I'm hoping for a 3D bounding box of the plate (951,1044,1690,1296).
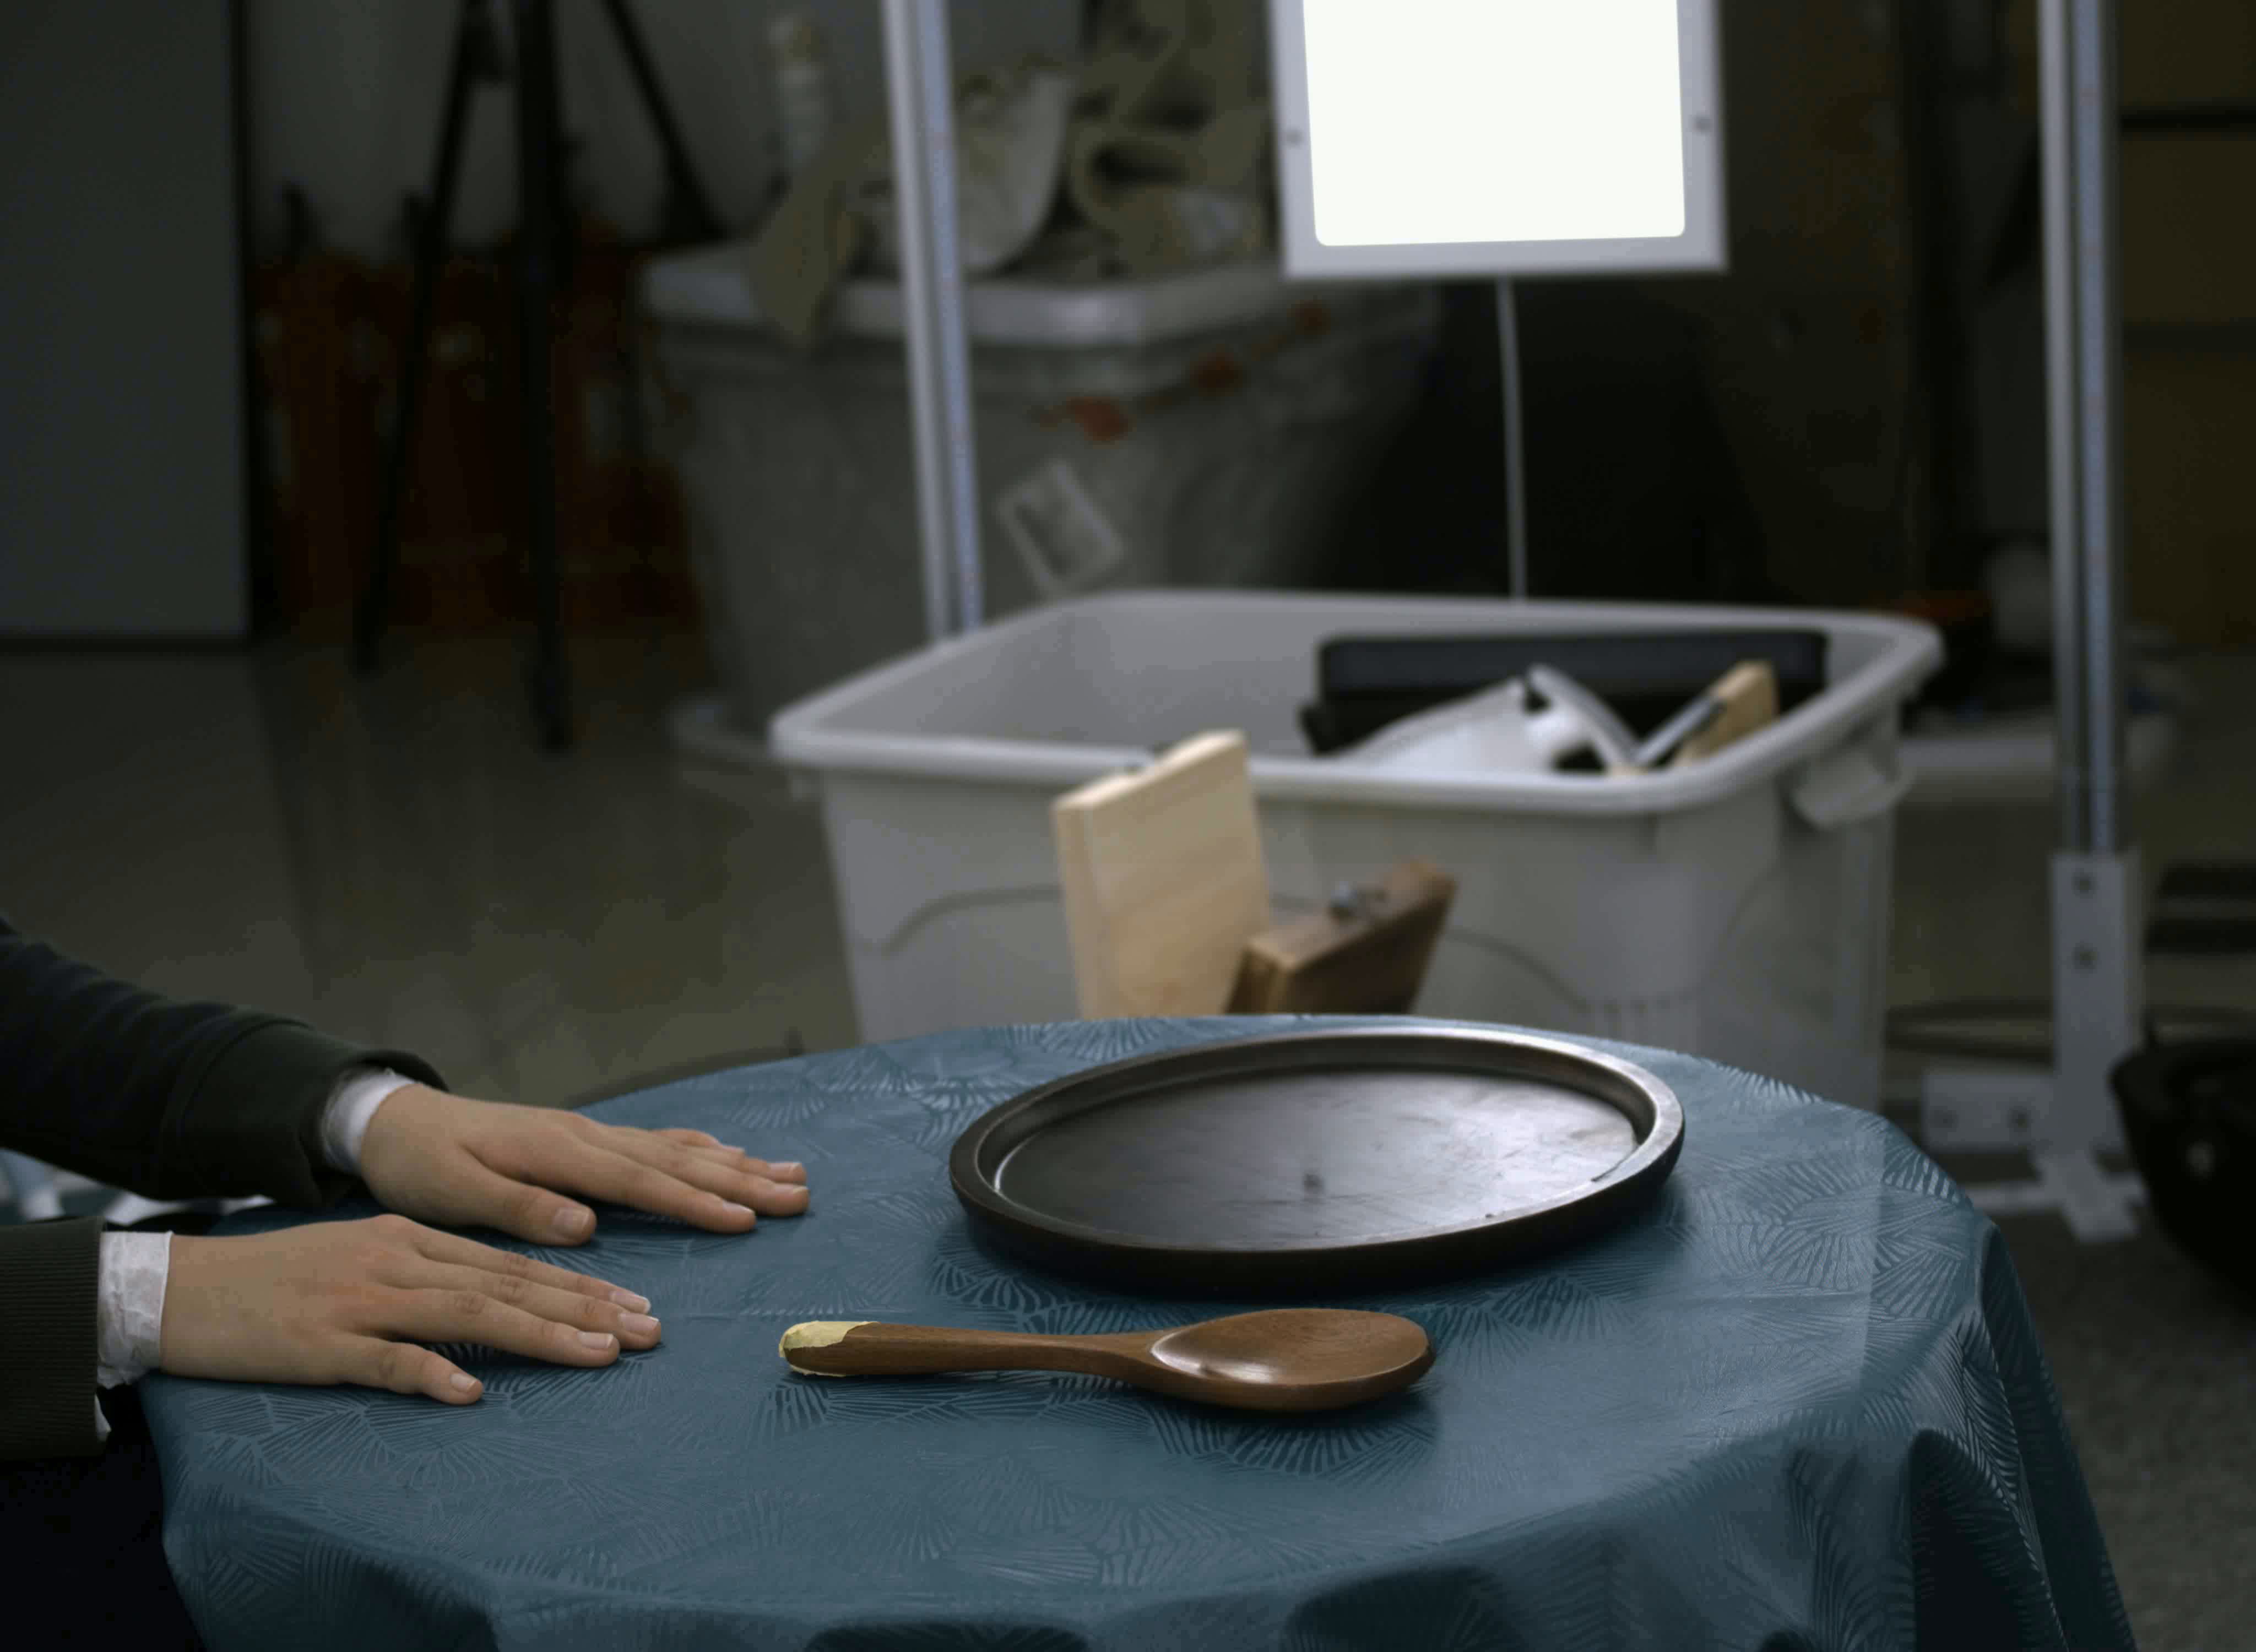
[{"bbox_3d":[0.066,0.114,1.878,0.254,0.029,0.254,-4,13,0],"label":"plate"}]

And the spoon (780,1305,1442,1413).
[{"bbox_3d":[-0.007,0.164,1.708,0.219,0.017,0.074,1,15,22],"label":"spoon"}]
